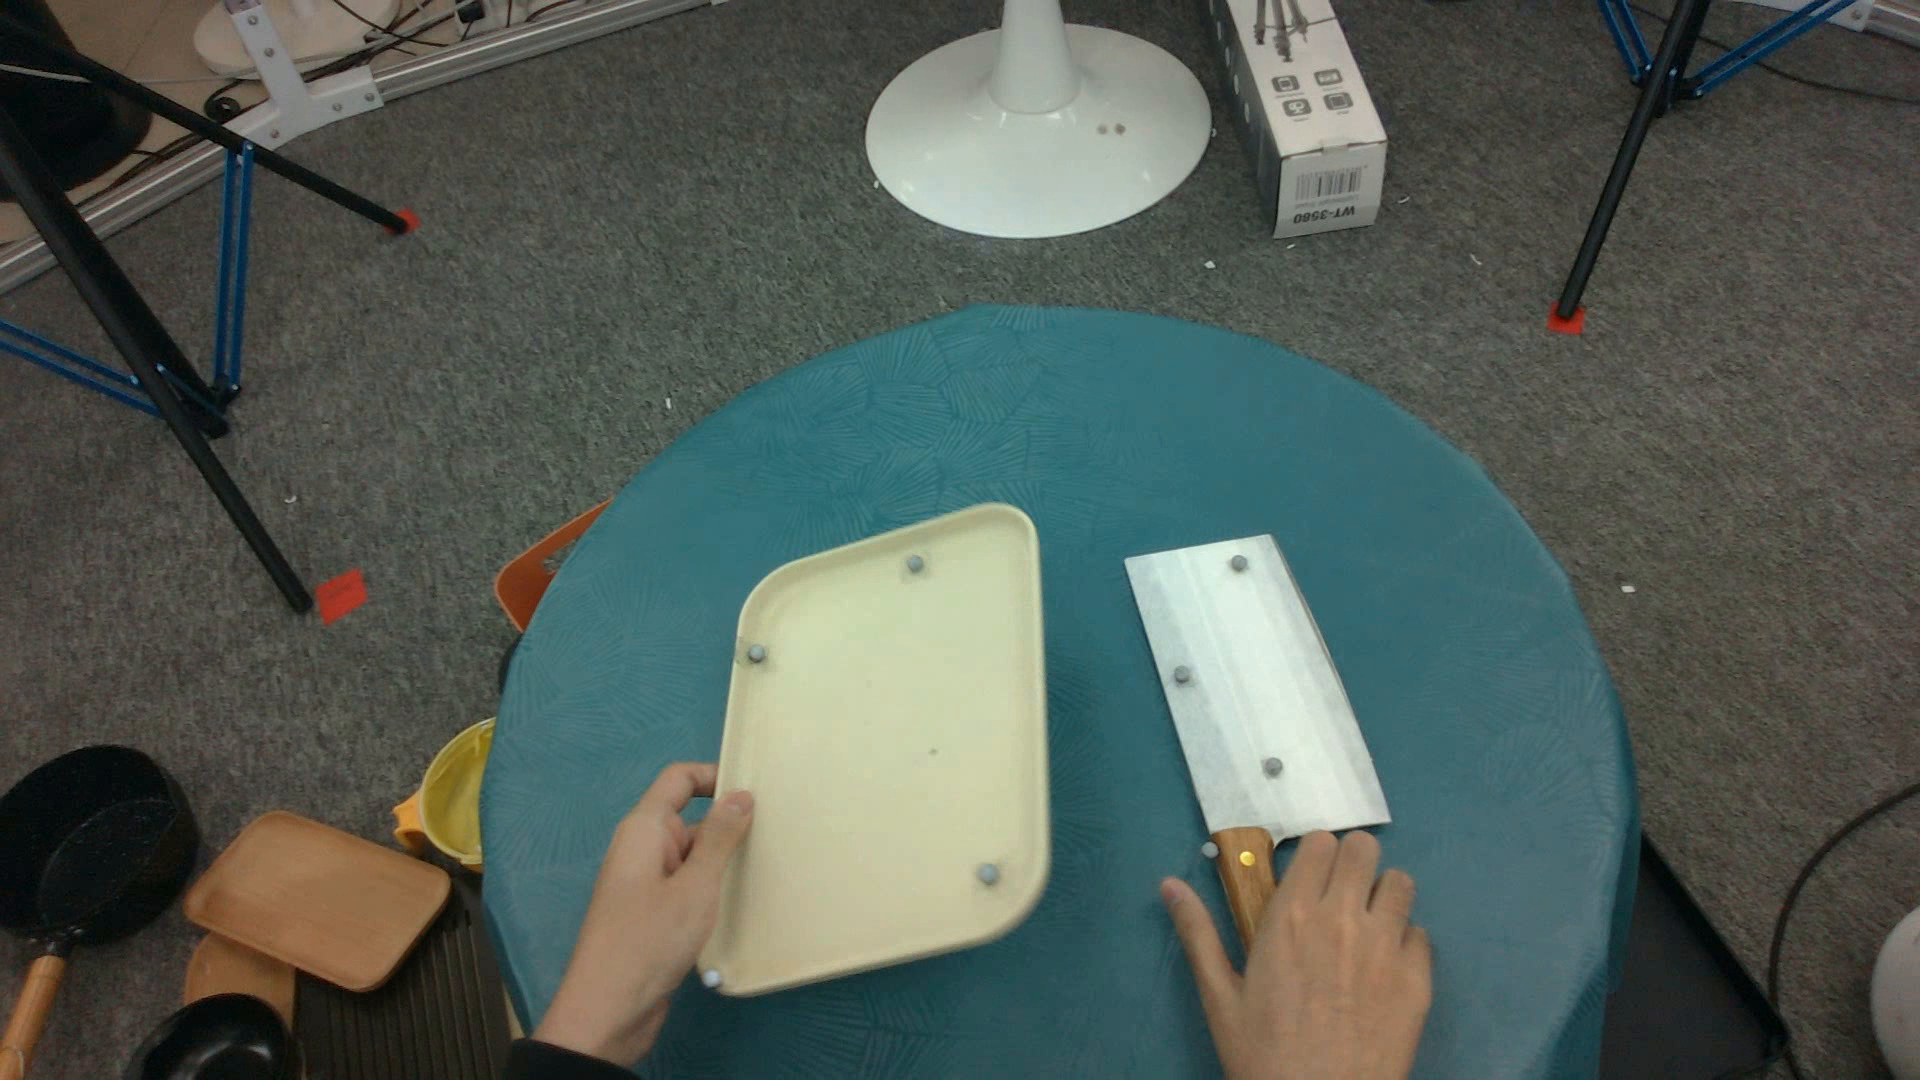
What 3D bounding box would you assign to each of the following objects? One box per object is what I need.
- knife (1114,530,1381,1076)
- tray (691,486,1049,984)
[{"bbox_3d":[0.157,0.111,0.698,0.093,0.021,0.307,-10,50,-5],"label":"knife"},{"bbox_3d":[-0.041,0.083,0.646,0.171,0.017,0.241,-17,46,18],"label":"tray"}]
